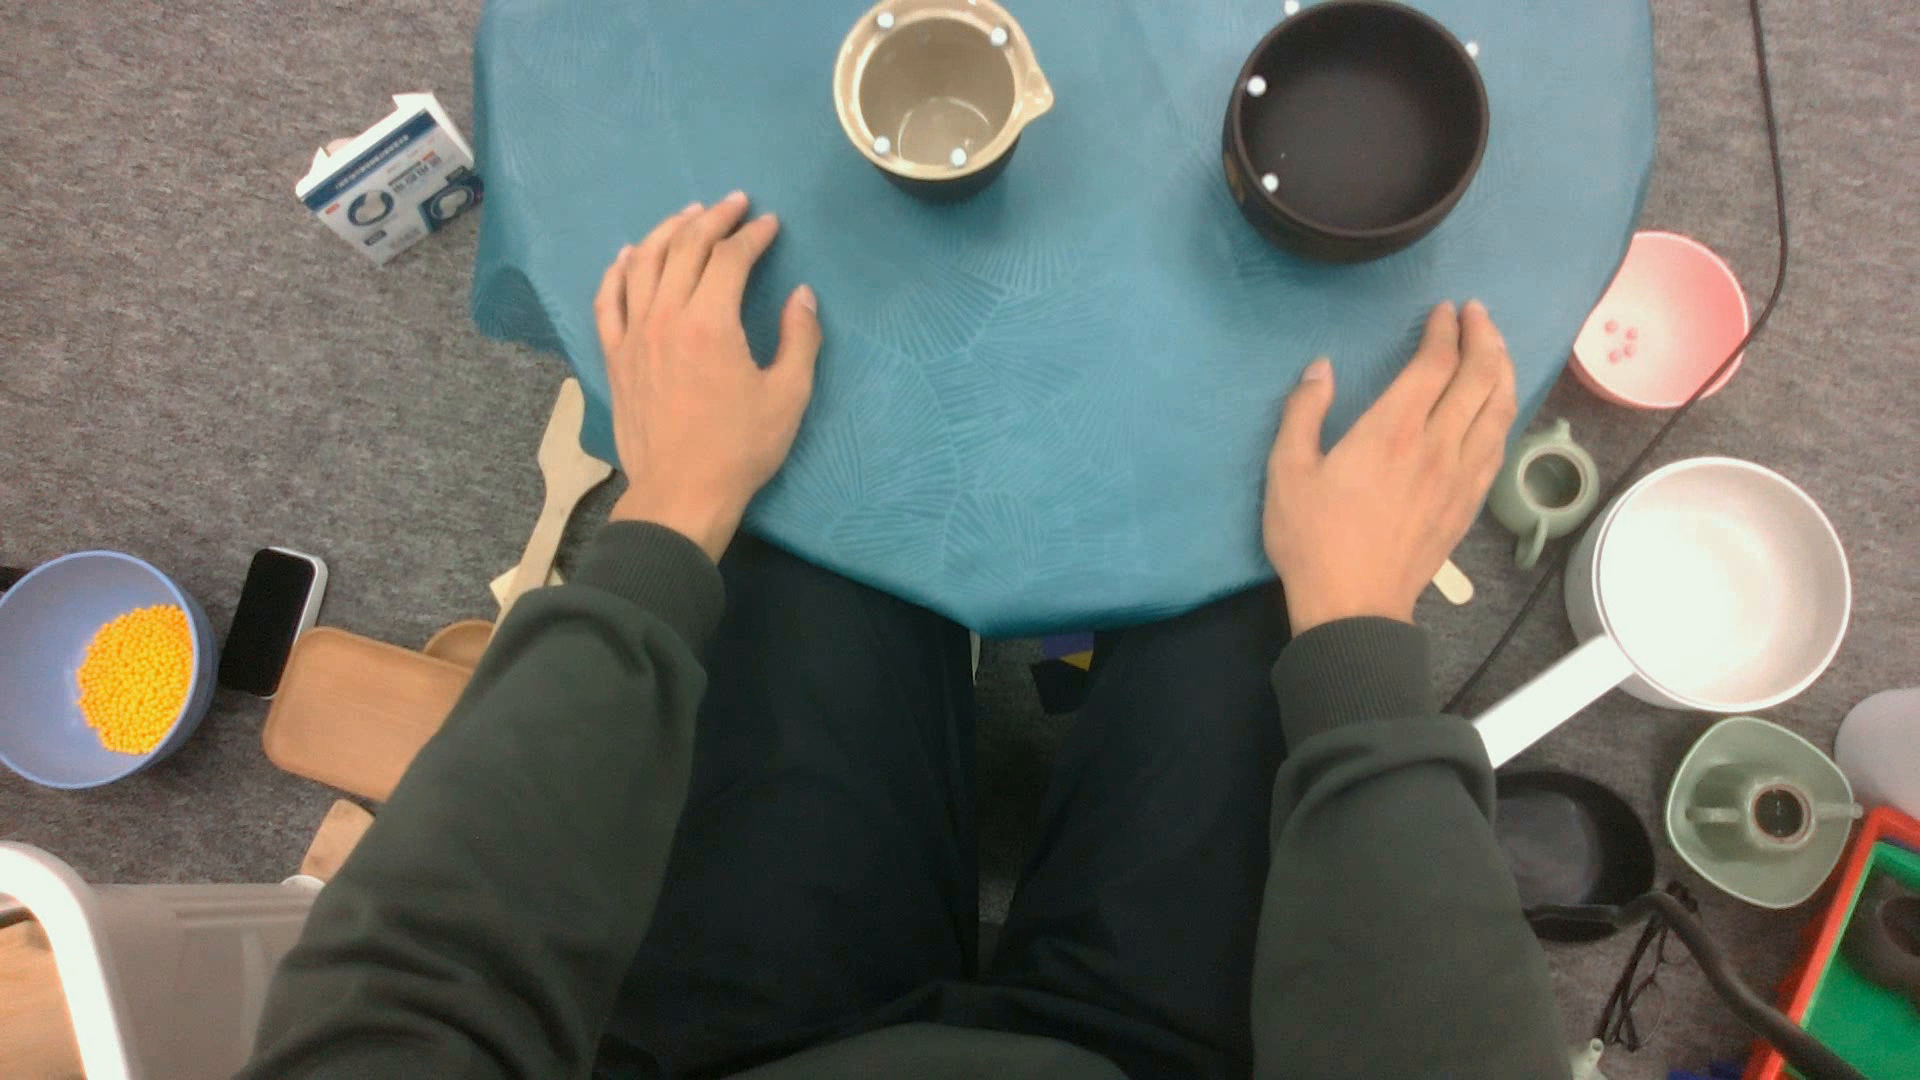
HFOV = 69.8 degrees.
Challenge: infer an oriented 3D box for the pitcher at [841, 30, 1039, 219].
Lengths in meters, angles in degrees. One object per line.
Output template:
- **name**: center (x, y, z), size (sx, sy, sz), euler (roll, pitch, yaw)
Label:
- **pitcher**: center (-0.009, -0.199, 0.686), size (0.096, 0.071, 0.084), euler (14, 78, 4)

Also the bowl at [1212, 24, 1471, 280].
- **bowl**: center (0.181, -0.182, 0.673), size (0.118, 0.070, 0.118), euler (0, 82, 3)
